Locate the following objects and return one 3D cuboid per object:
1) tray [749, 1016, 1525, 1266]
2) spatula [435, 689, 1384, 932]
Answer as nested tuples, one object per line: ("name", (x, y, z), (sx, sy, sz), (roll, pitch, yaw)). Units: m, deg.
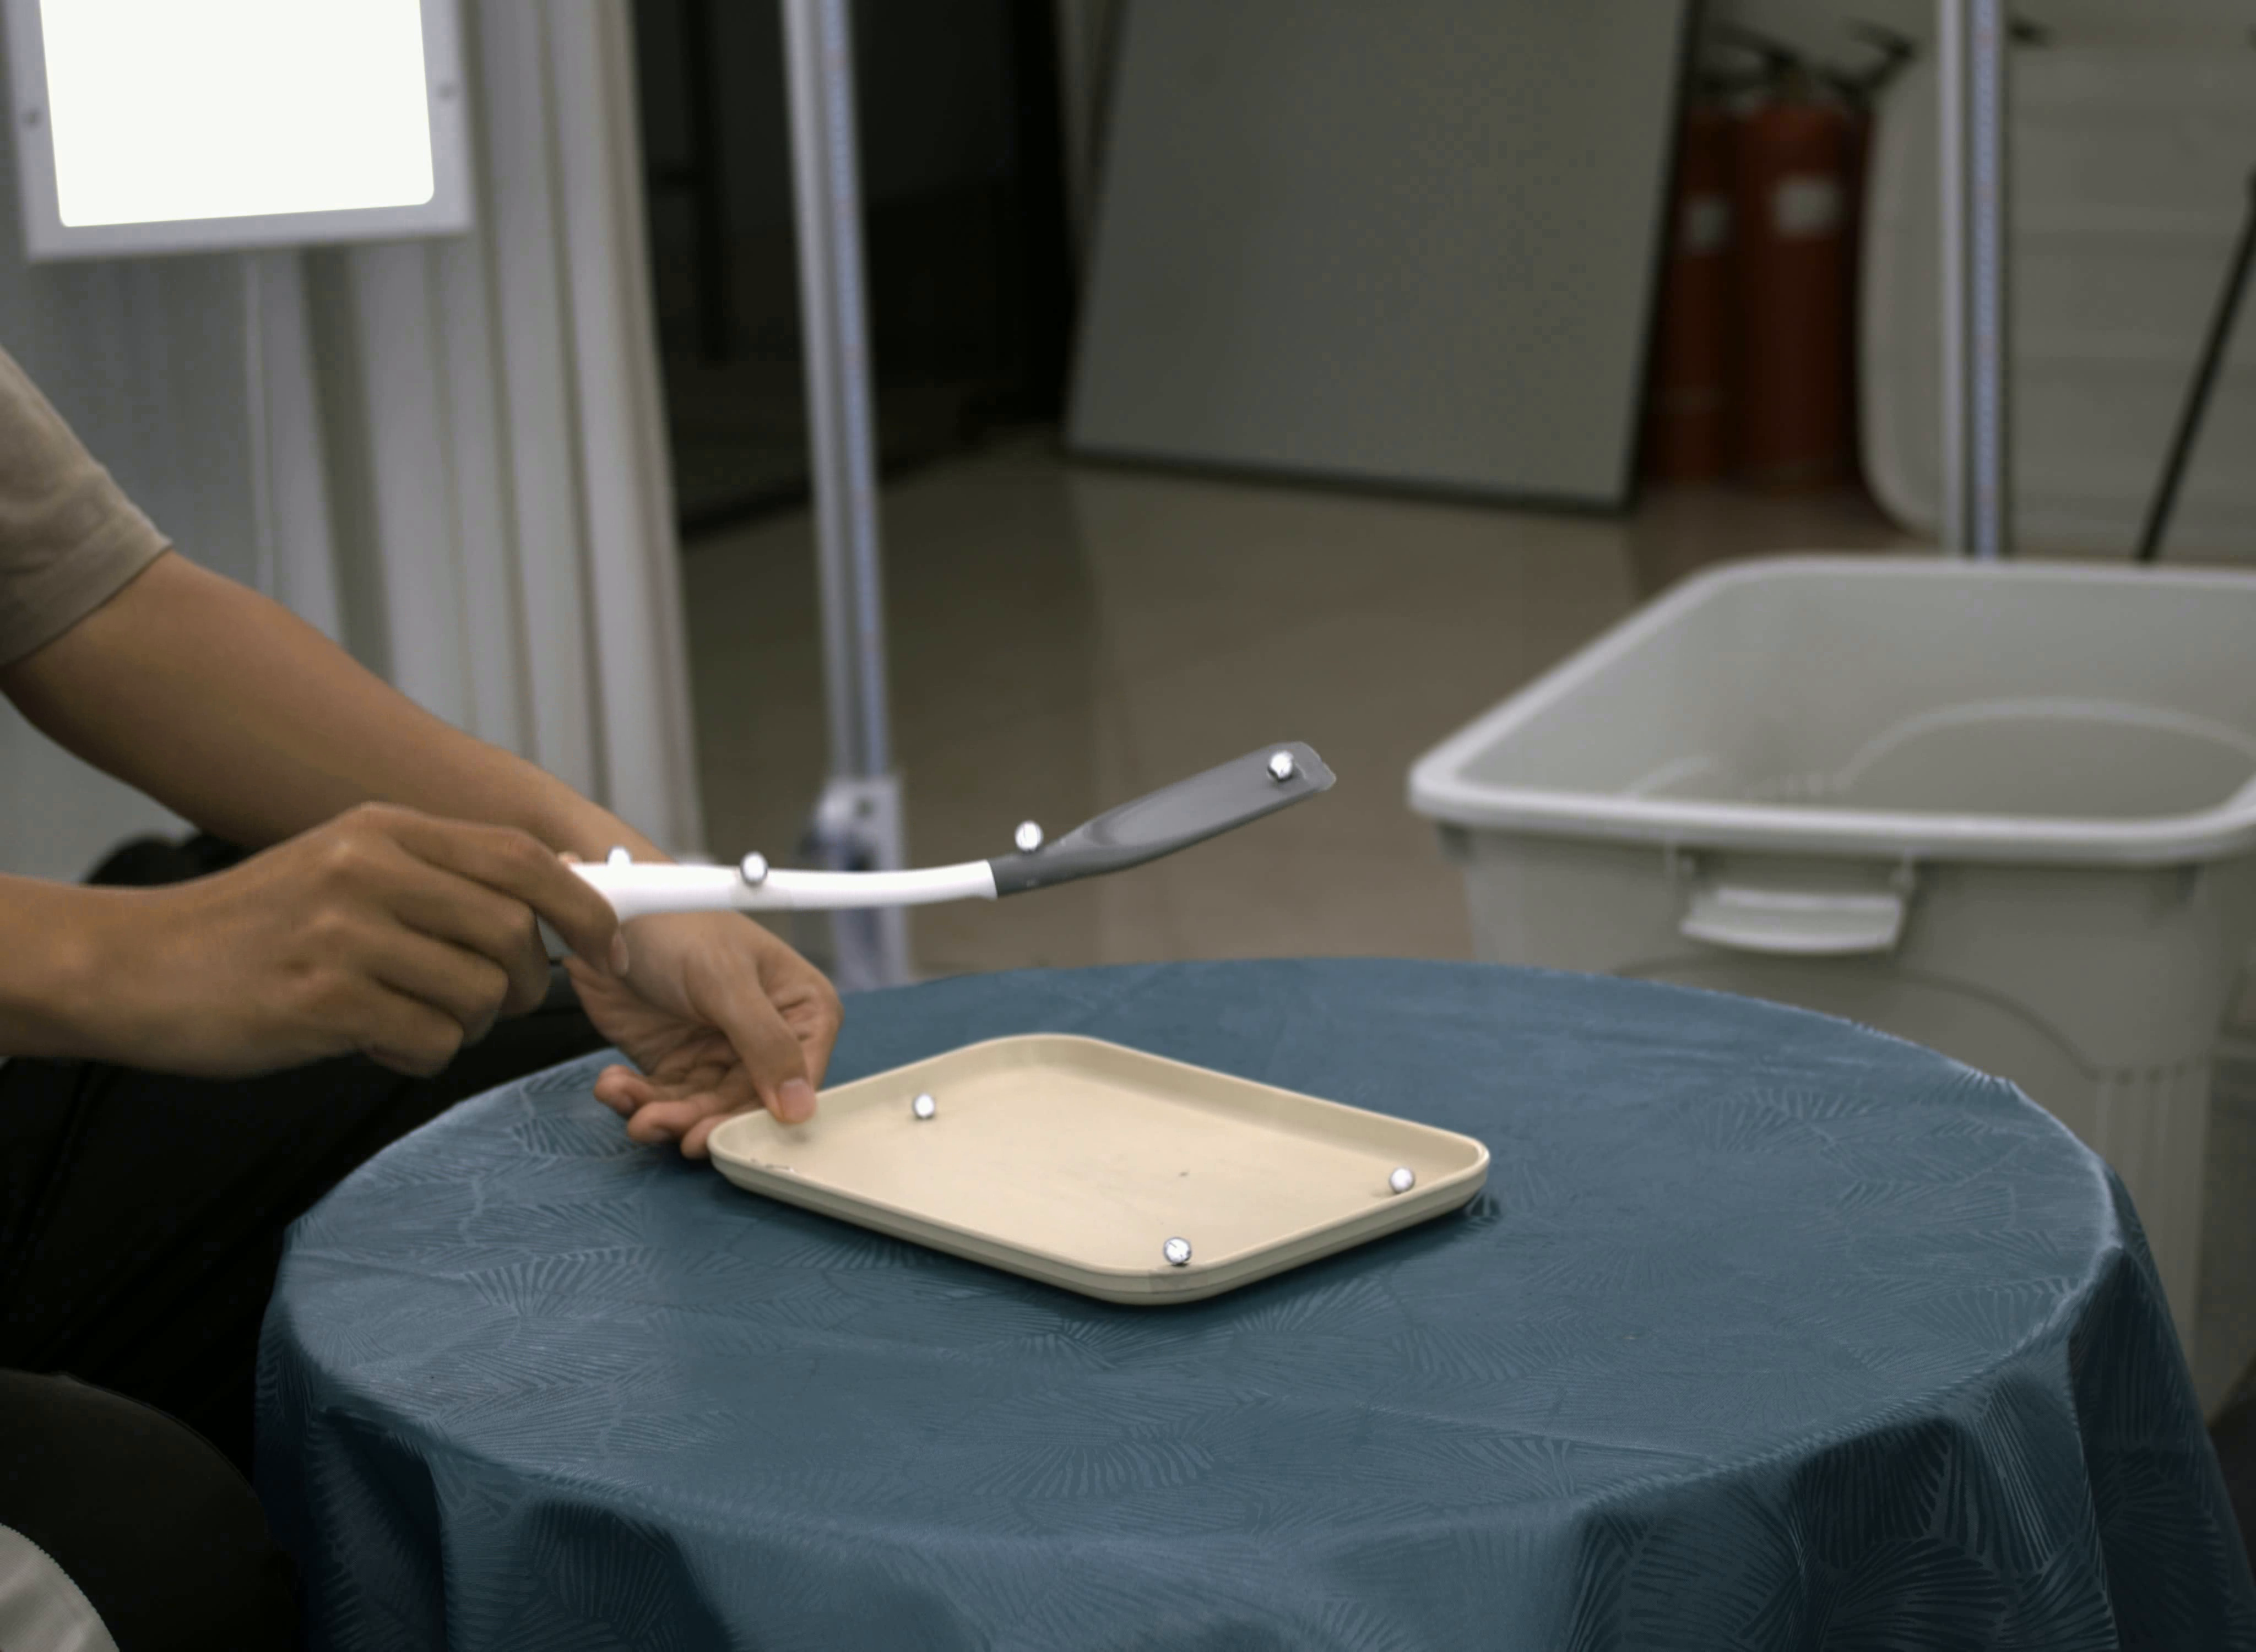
("tray", (0.001, 0.103, 1.784), (0.167, 0.018, 0.242), (-14, 17, -40))
("spatula", (-0.064, -0.006, 1.613), (0.283, 0.032, 0.059), (-9, 12, -8))
